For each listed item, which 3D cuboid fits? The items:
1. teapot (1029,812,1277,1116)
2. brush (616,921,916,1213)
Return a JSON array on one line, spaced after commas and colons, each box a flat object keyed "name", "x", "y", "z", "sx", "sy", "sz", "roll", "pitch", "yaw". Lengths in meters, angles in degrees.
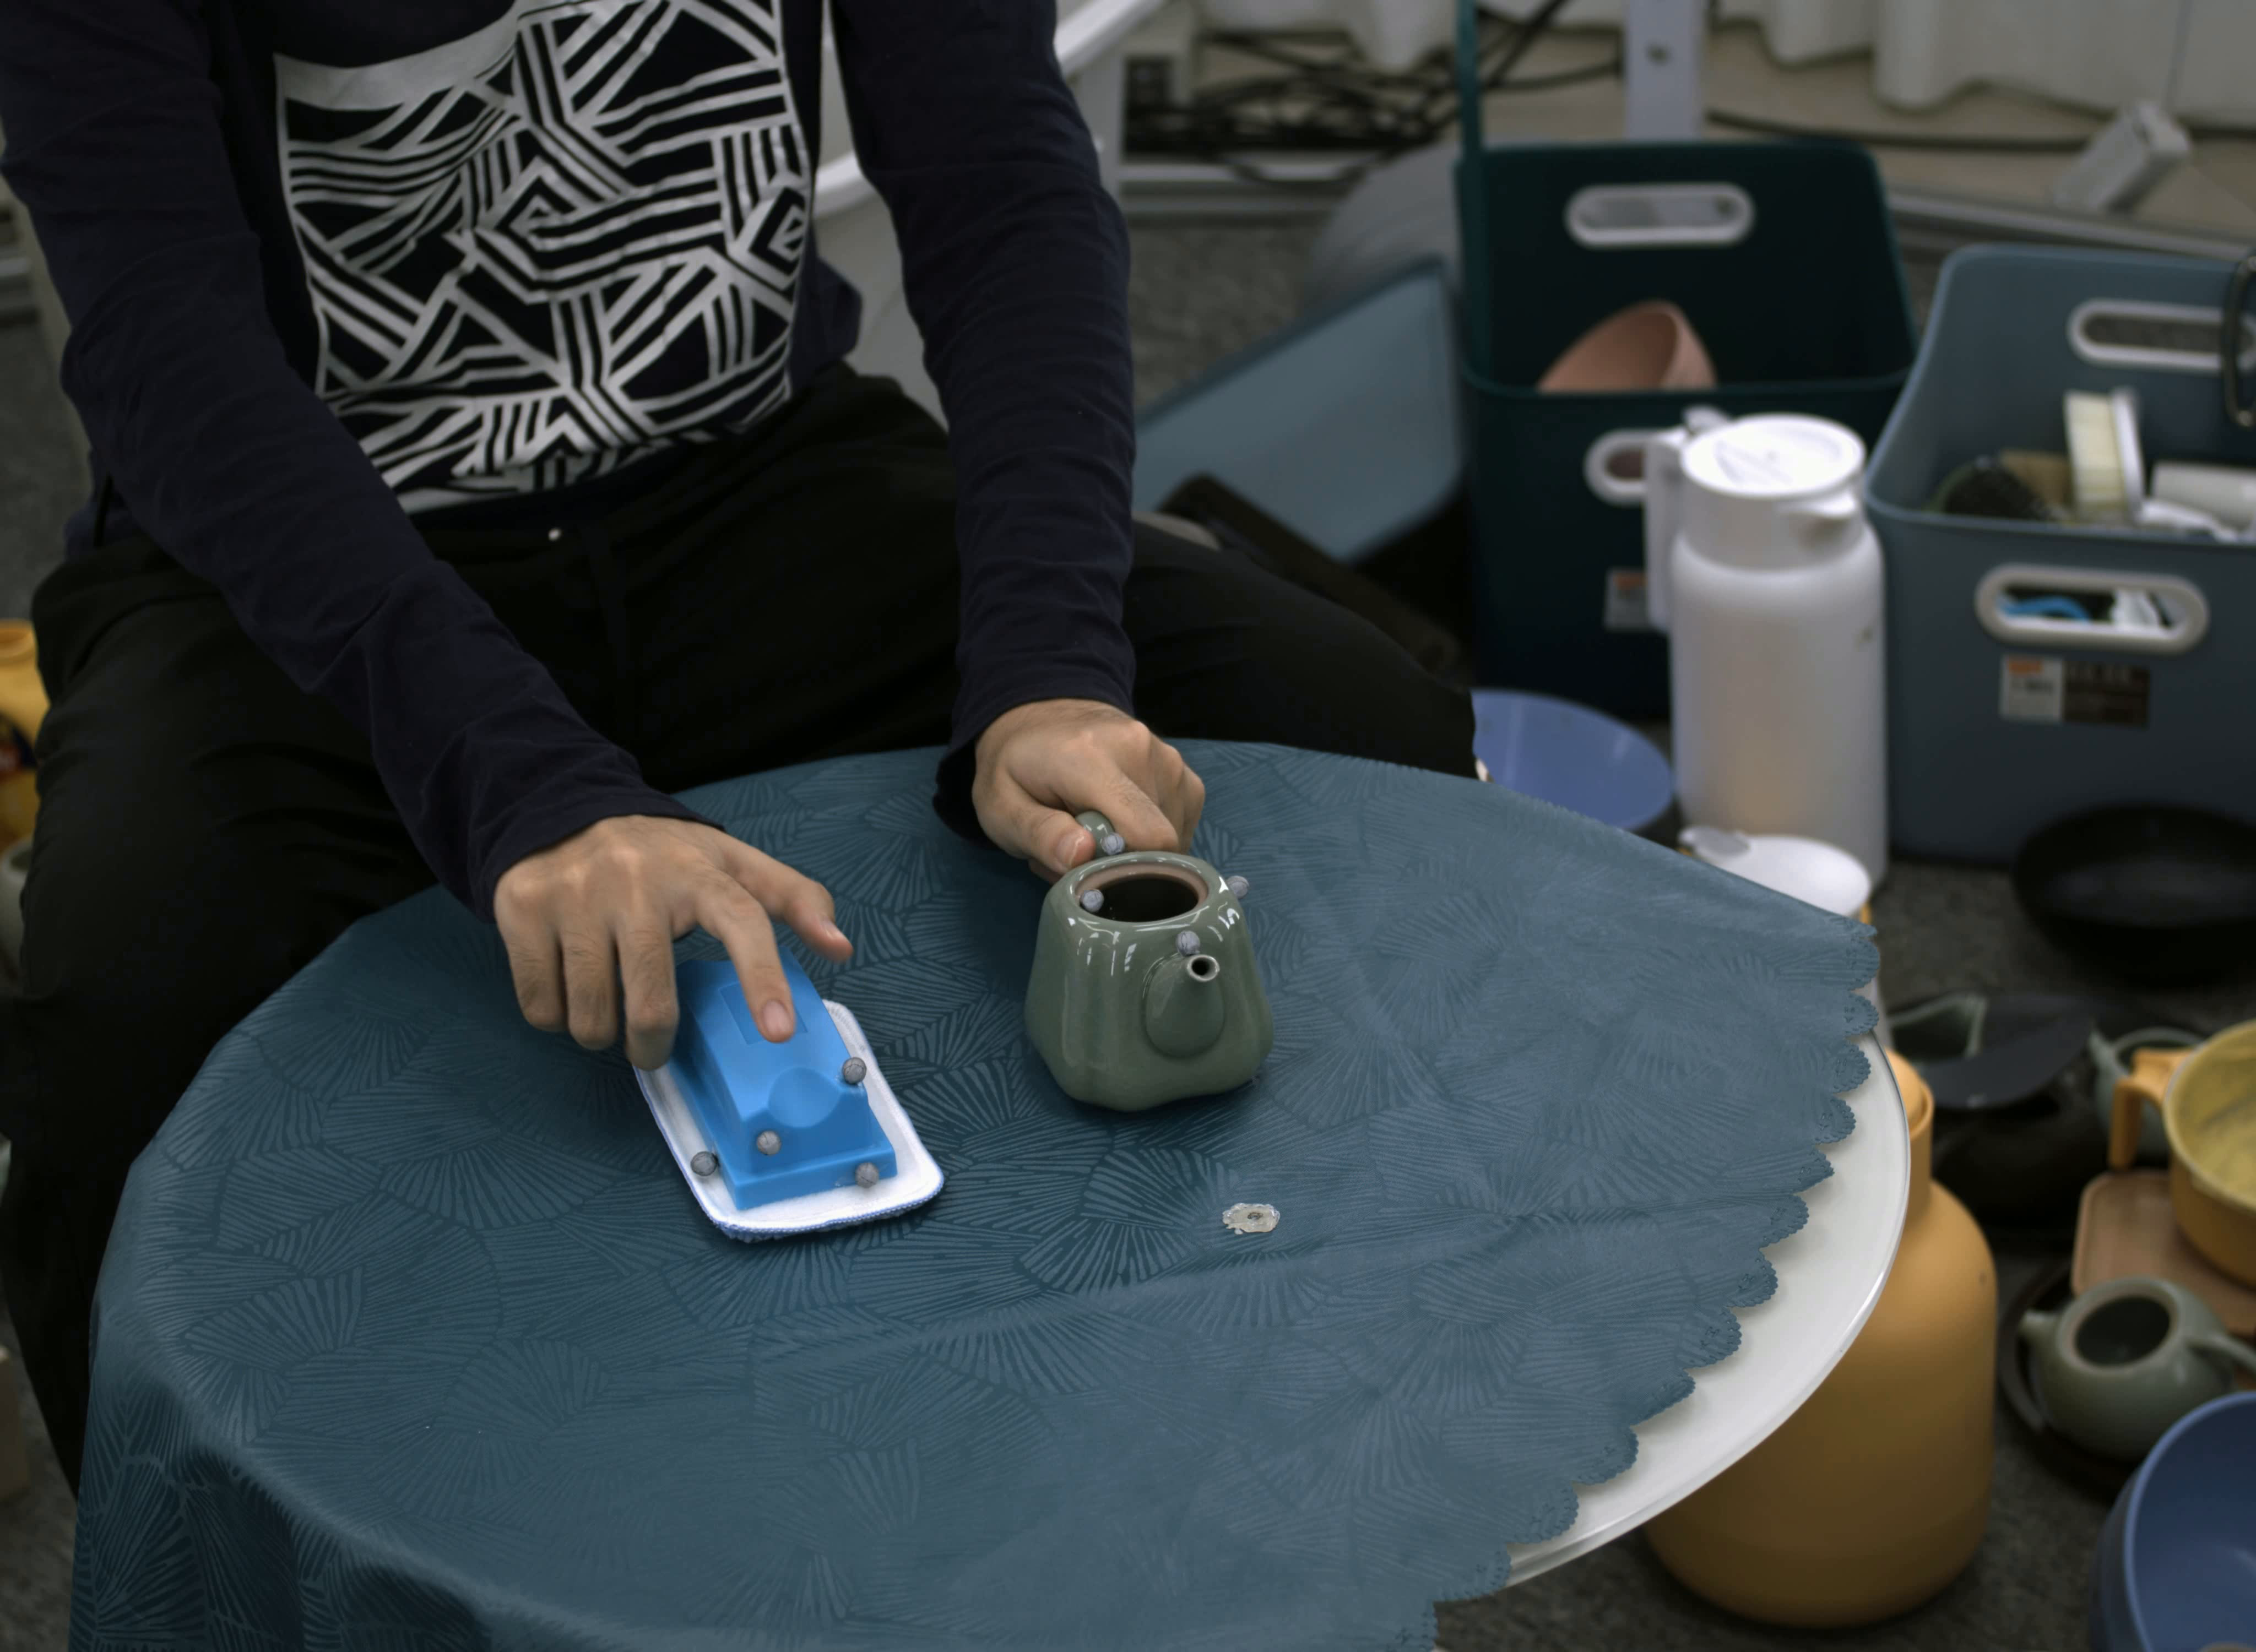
[{"name": "teapot", "x": 0.007, "y": 0.051, "z": 1.917, "sx": 0.080, "sy": 0.074, "sz": 0.133, "roll": -11, "pitch": 27, "yaw": -16}, {"name": "brush", "x": -0.122, "y": 0.077, "z": 1.892, "sx": 0.084, "sy": 0.055, "sz": 0.145, "roll": -7, "pitch": 30, "yaw": -14}]
